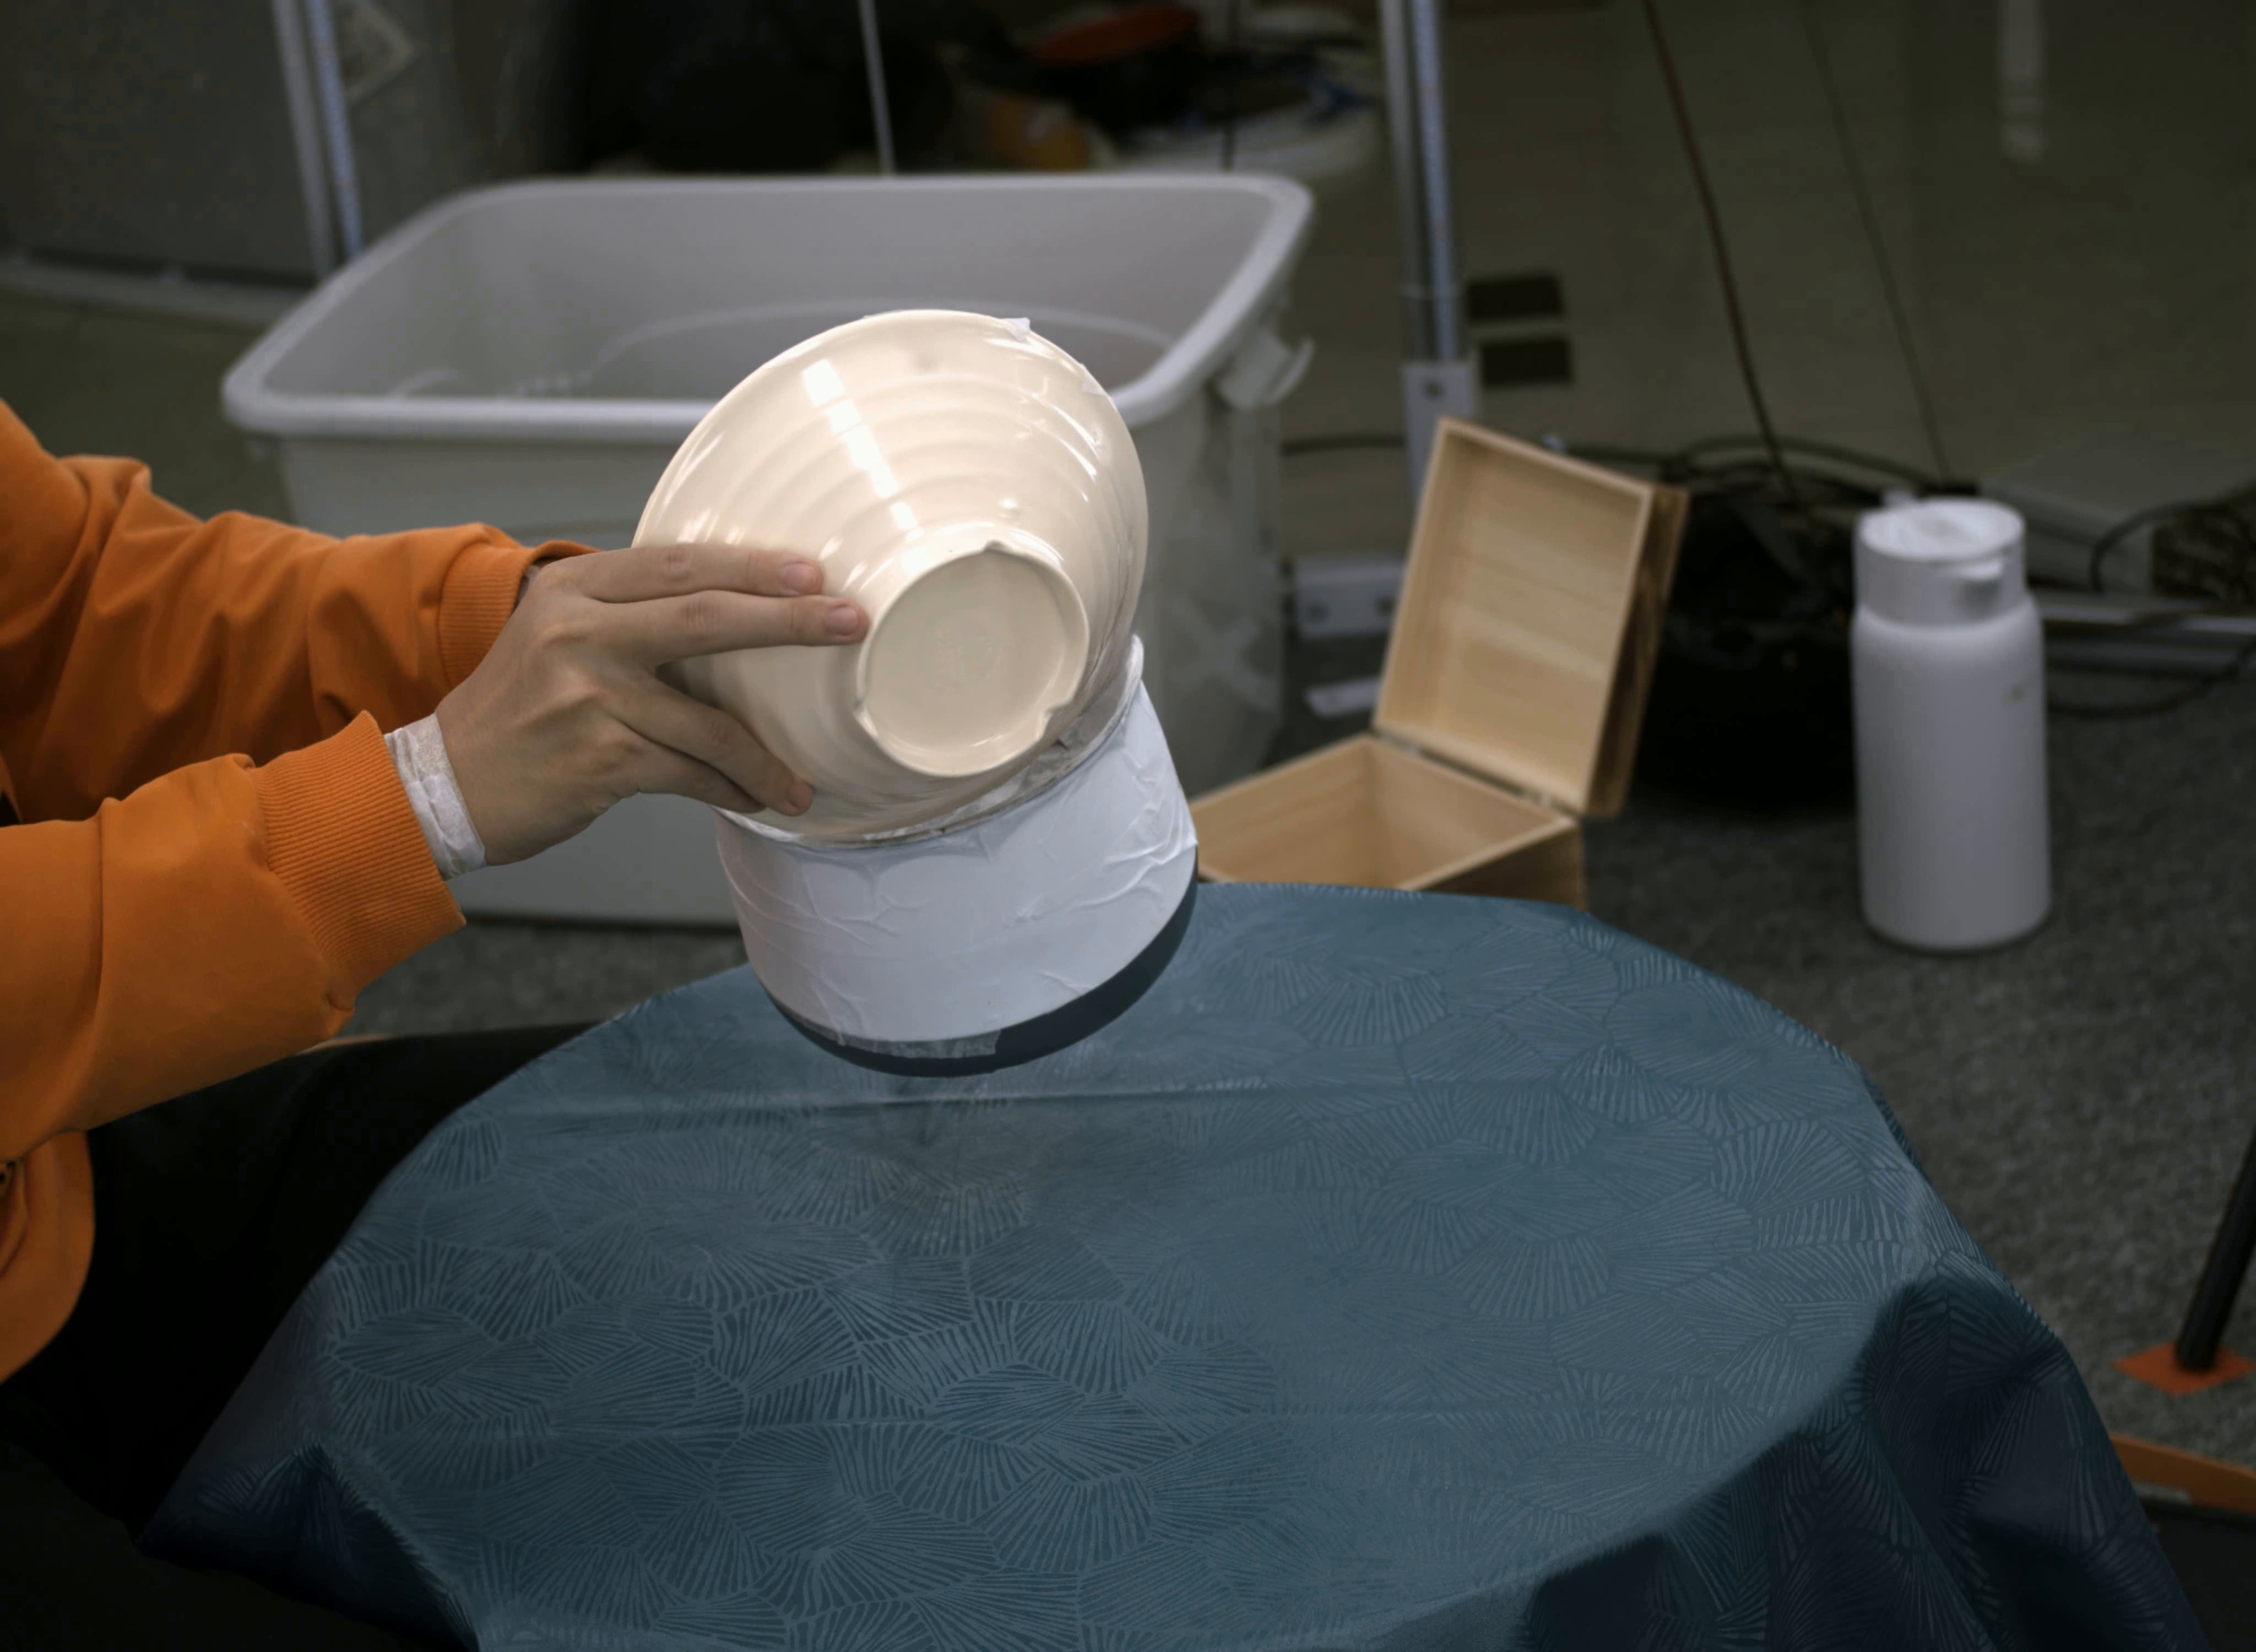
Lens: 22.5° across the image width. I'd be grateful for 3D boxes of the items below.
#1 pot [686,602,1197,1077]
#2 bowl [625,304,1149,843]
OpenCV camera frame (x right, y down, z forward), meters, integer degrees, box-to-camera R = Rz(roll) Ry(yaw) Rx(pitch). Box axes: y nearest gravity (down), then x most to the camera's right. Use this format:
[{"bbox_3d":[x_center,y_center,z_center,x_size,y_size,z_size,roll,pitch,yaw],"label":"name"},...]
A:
[{"bbox_3d":[-0.086,-0.013,2.141,0.177,0.139,0.231,-37,44,-25],"label":"pot"},{"bbox_3d":[-0.067,-0.073,1.969,0.203,0.207,0.077,-17,33,-22],"label":"bowl"}]
